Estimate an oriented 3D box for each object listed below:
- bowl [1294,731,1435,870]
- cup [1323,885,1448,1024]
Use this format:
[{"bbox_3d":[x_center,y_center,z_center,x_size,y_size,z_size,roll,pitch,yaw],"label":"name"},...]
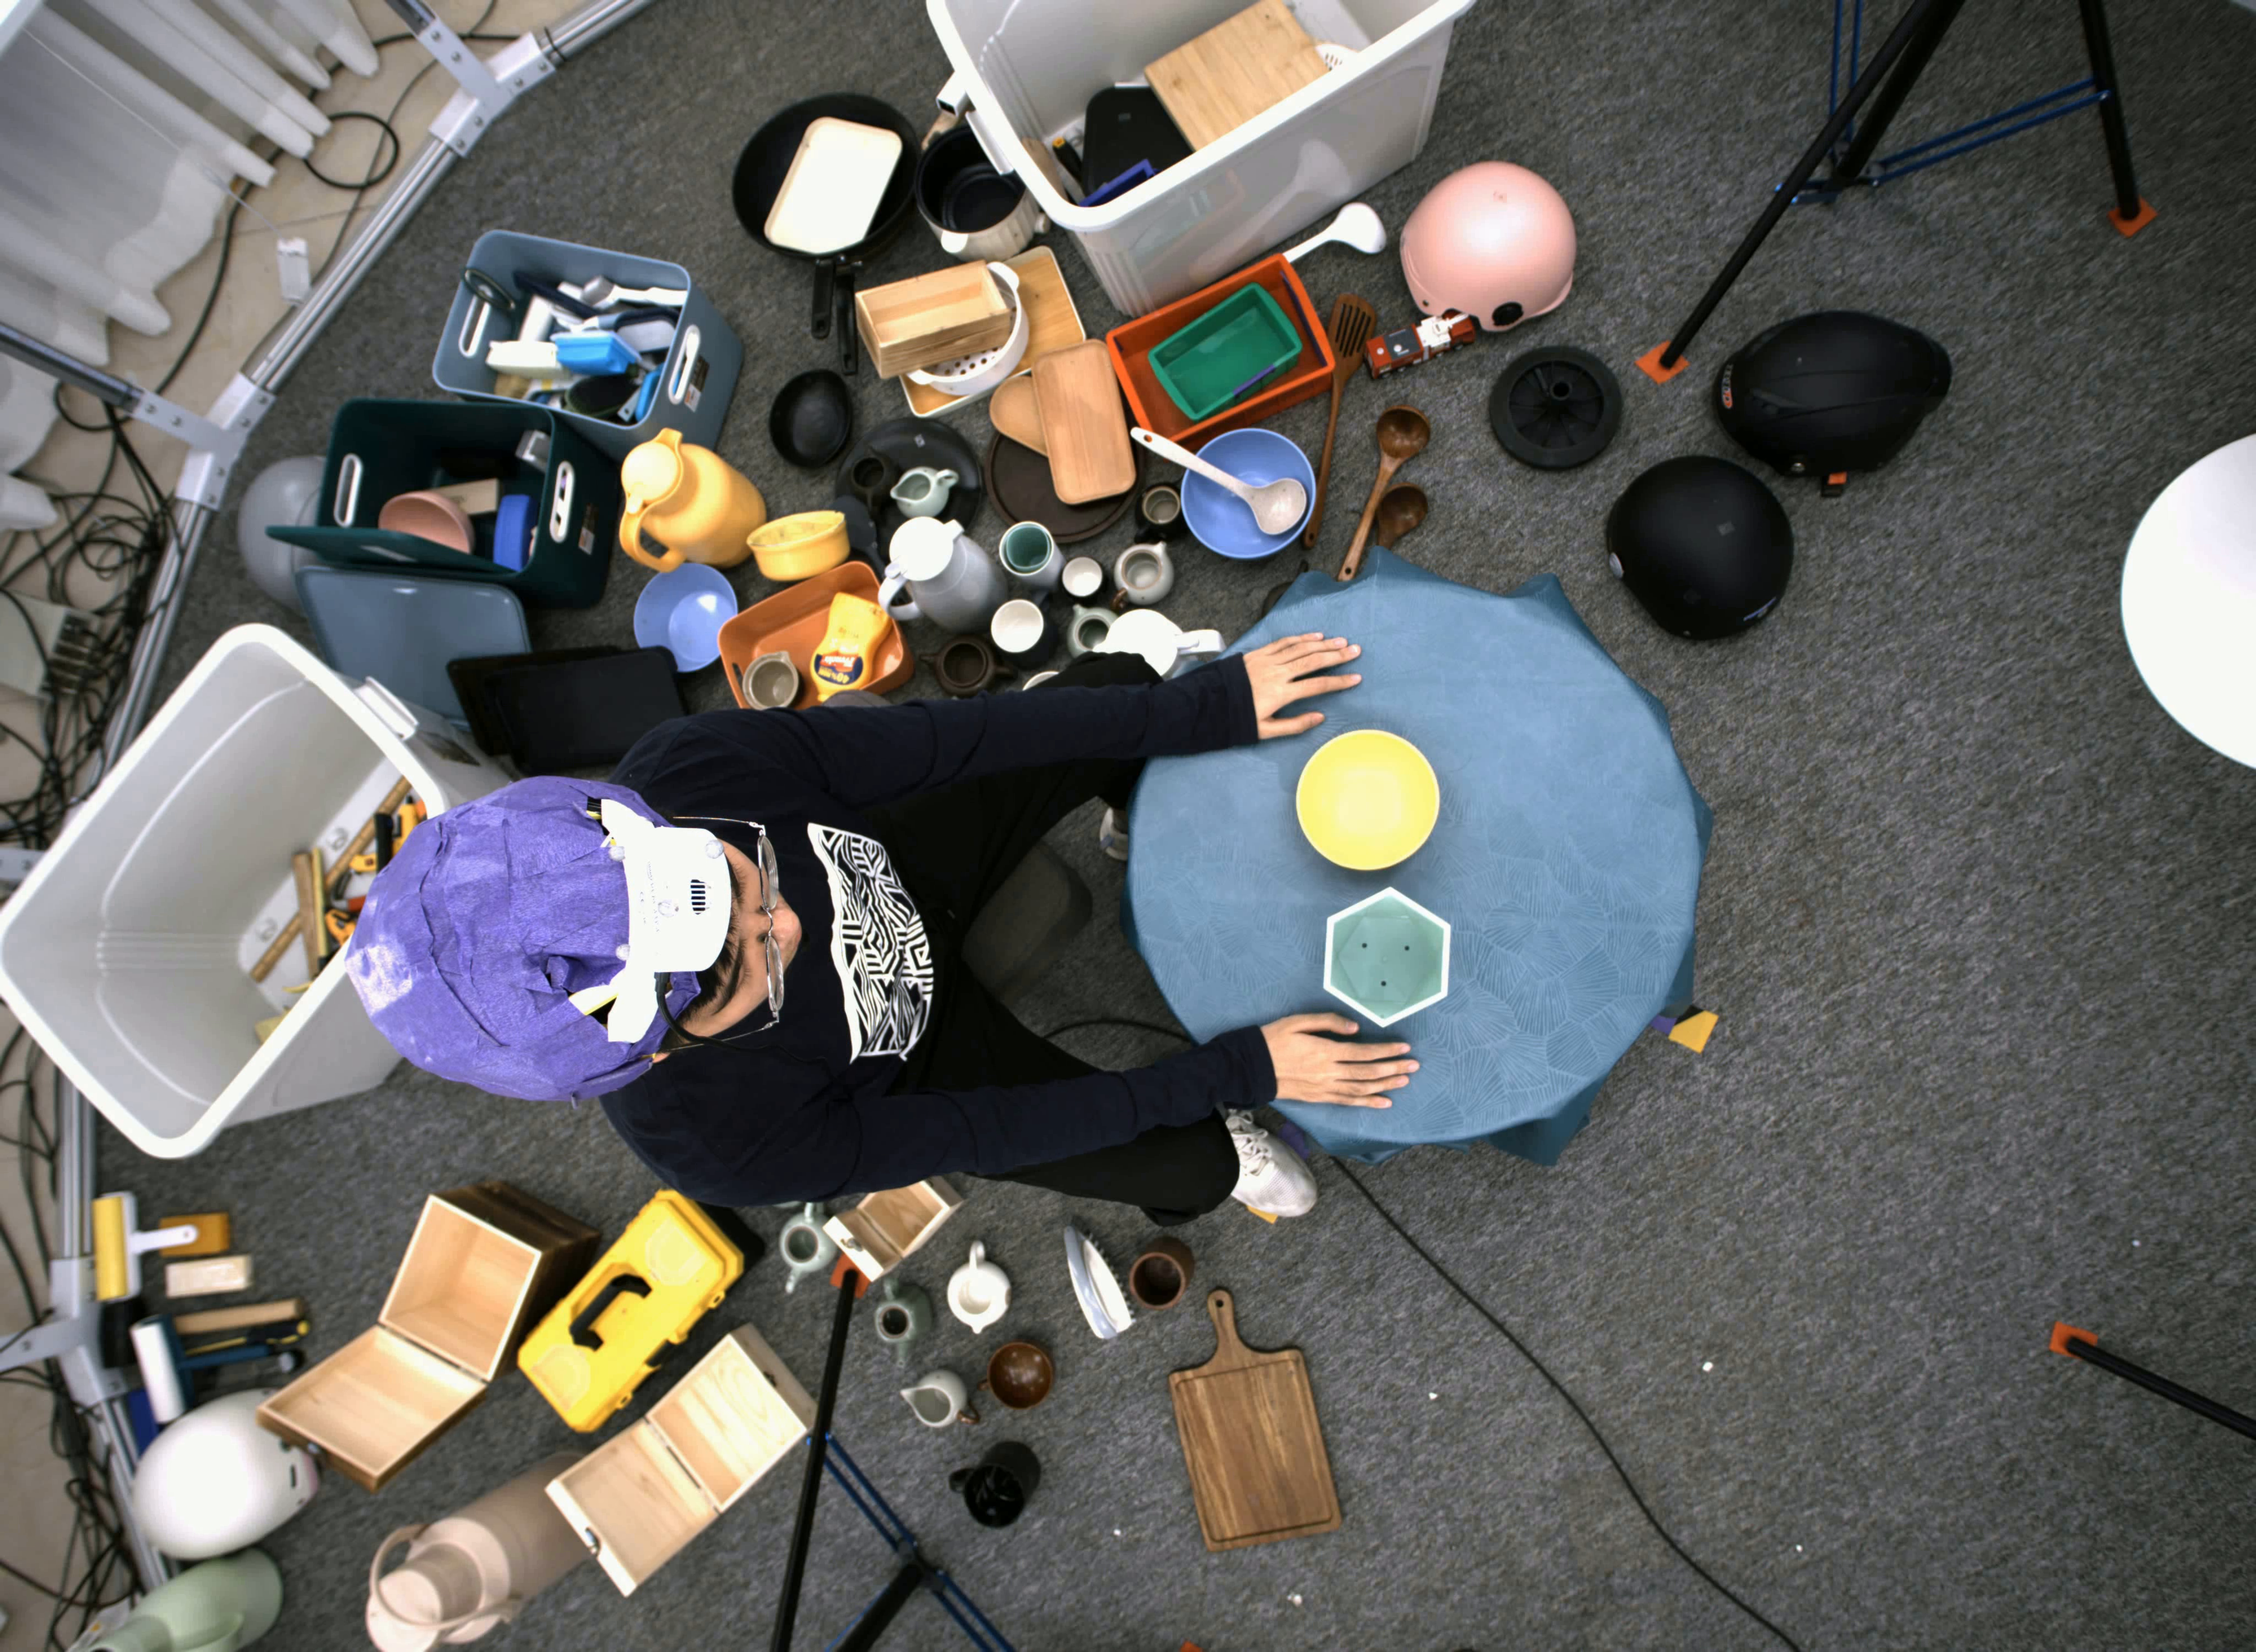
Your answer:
[{"bbox_3d":[0.248,-0.025,1.441,0.146,0.060,0.144,-1,85,12],"label":"bowl"},{"bbox_3d":[0.257,0.128,1.375,0.115,0.163,0.130,2,85,11],"label":"cup"}]
